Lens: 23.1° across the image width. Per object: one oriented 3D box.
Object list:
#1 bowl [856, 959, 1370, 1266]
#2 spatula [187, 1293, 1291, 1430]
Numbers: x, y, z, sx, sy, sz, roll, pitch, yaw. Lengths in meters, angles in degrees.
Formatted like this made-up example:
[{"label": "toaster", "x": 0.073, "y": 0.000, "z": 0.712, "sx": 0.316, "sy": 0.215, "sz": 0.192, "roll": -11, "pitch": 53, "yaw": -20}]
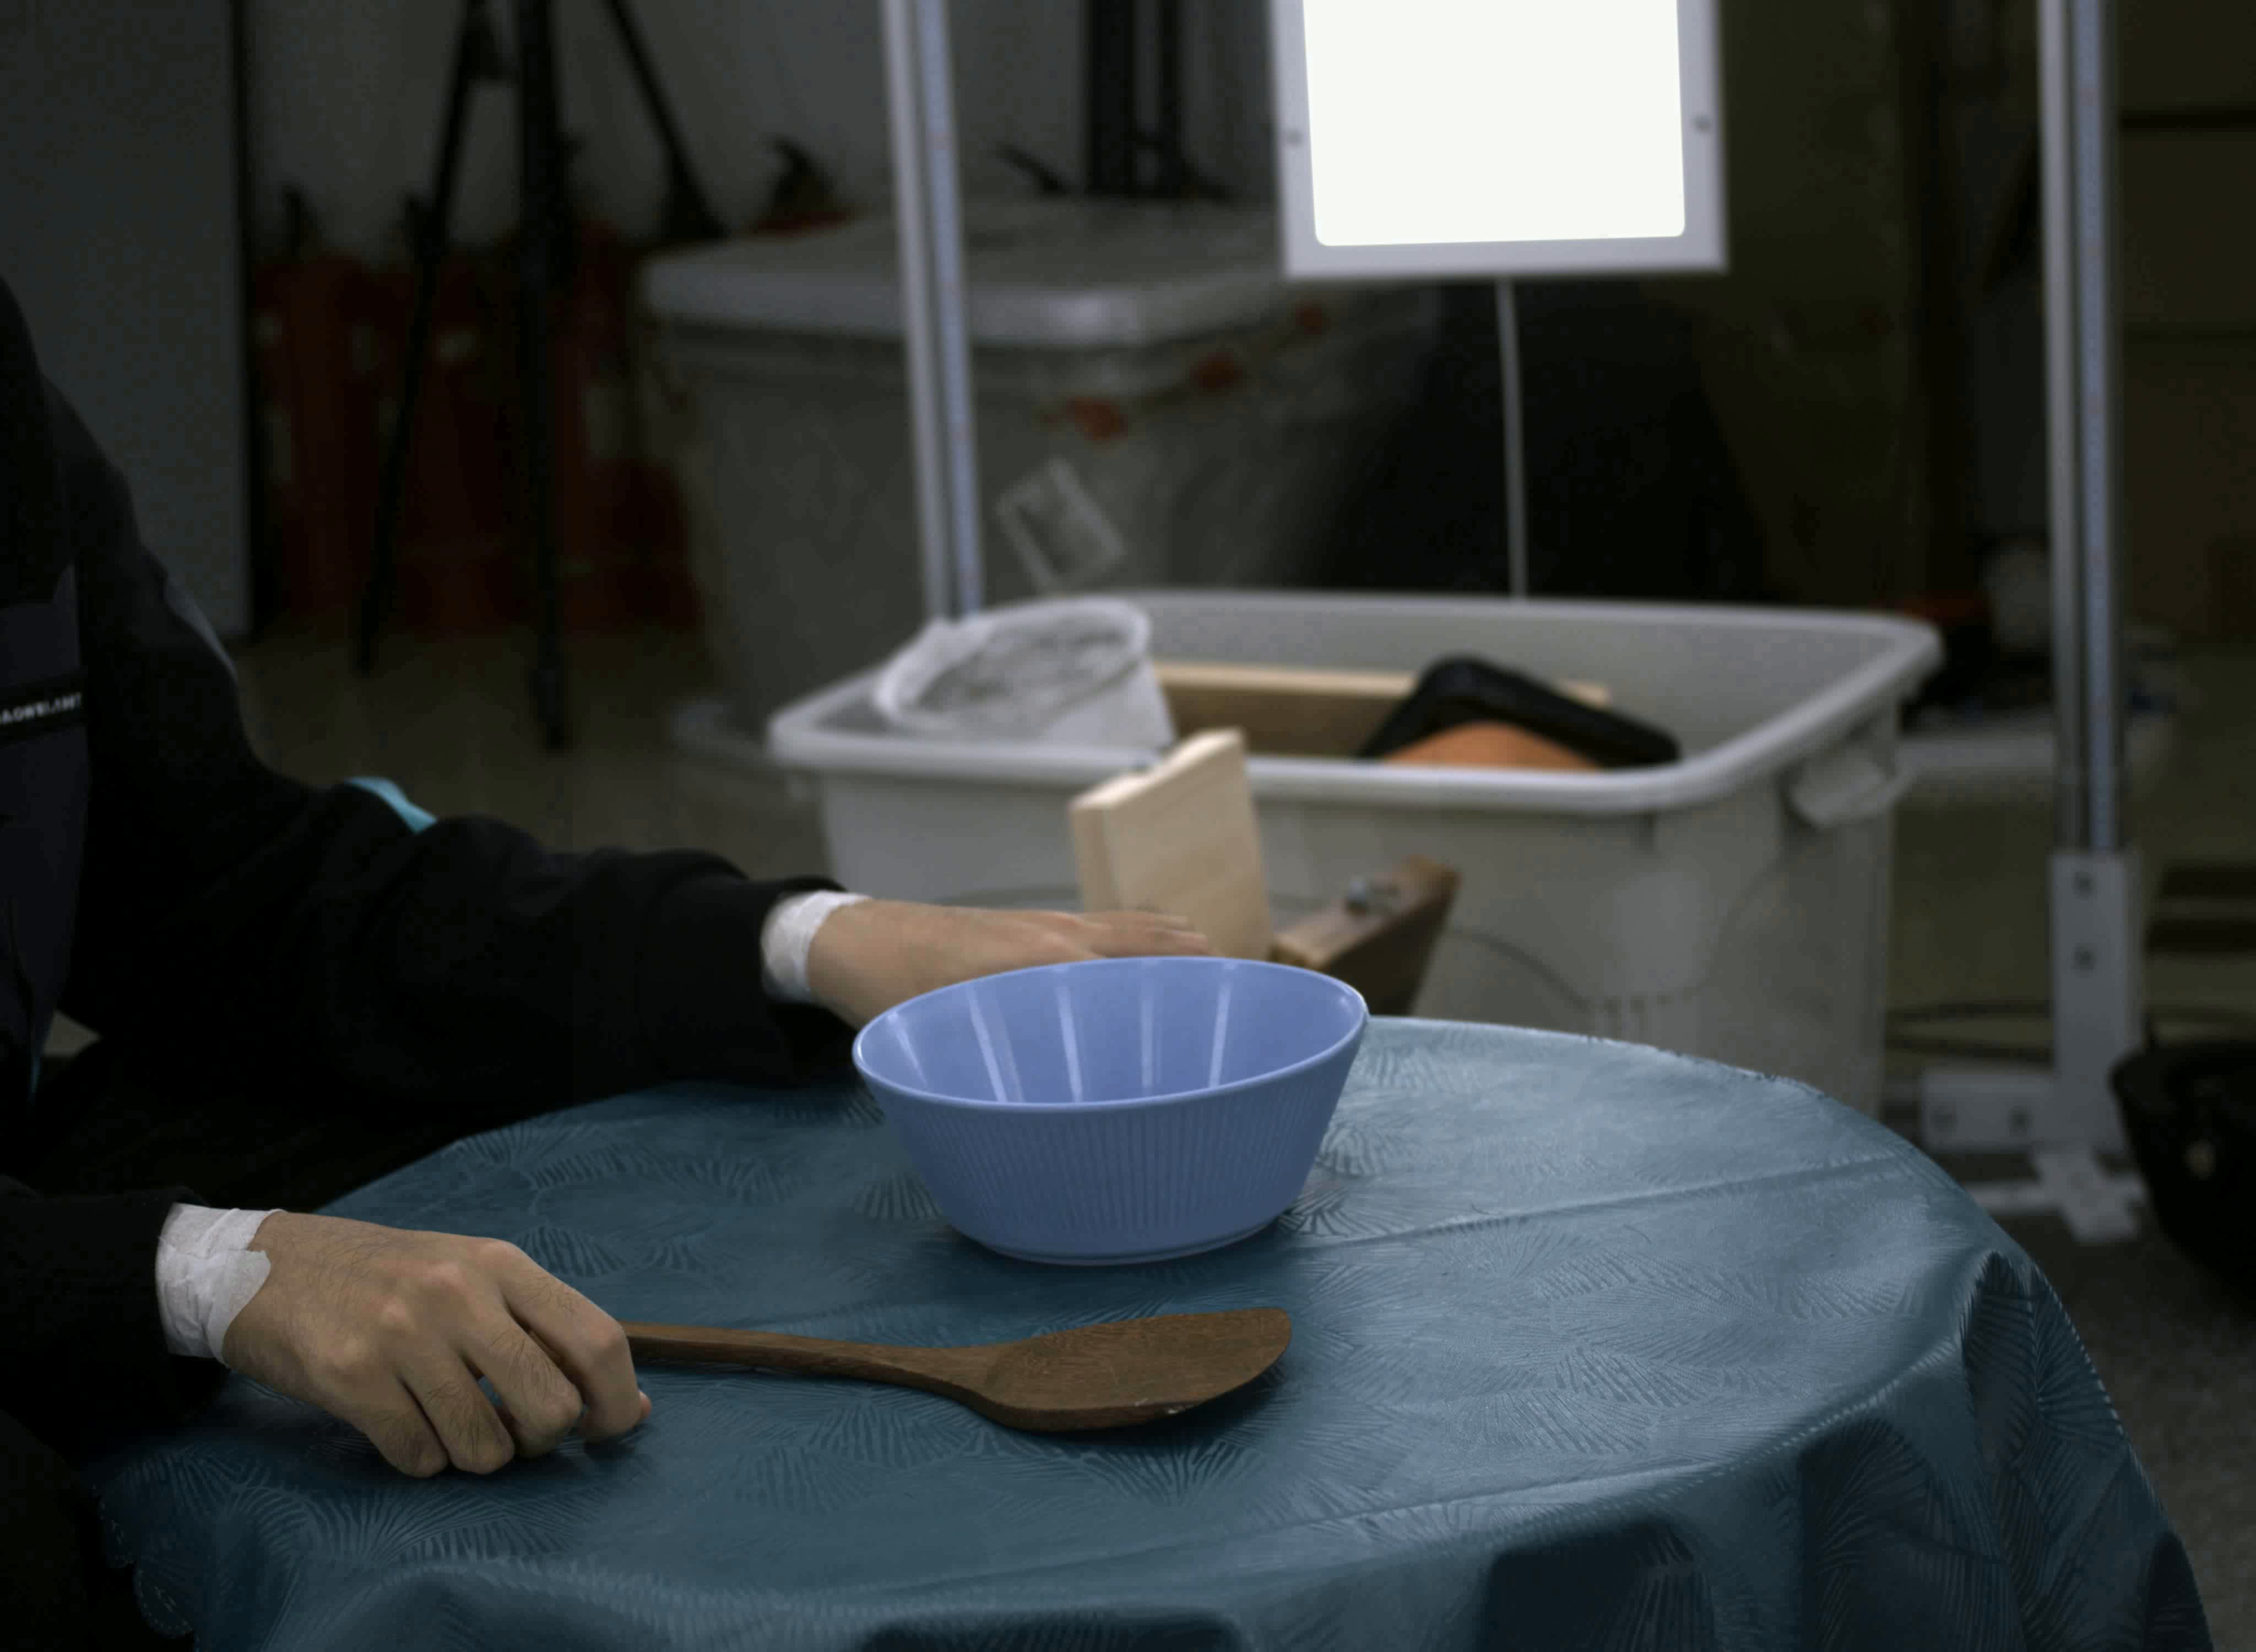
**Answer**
[{"label": "bowl", "x": -0.002, "y": 0.099, "z": 1.863, "sx": 0.175, "sy": 0.070, "sz": 0.176, "roll": -6, "pitch": 13, "yaw": 0}, {"label": "spatula", "x": -0.133, "y": 0.165, "z": 1.758, "sx": 0.392, "sy": 0.016, "sz": 0.094, "roll": 1, "pitch": 14, "yaw": 24}]
